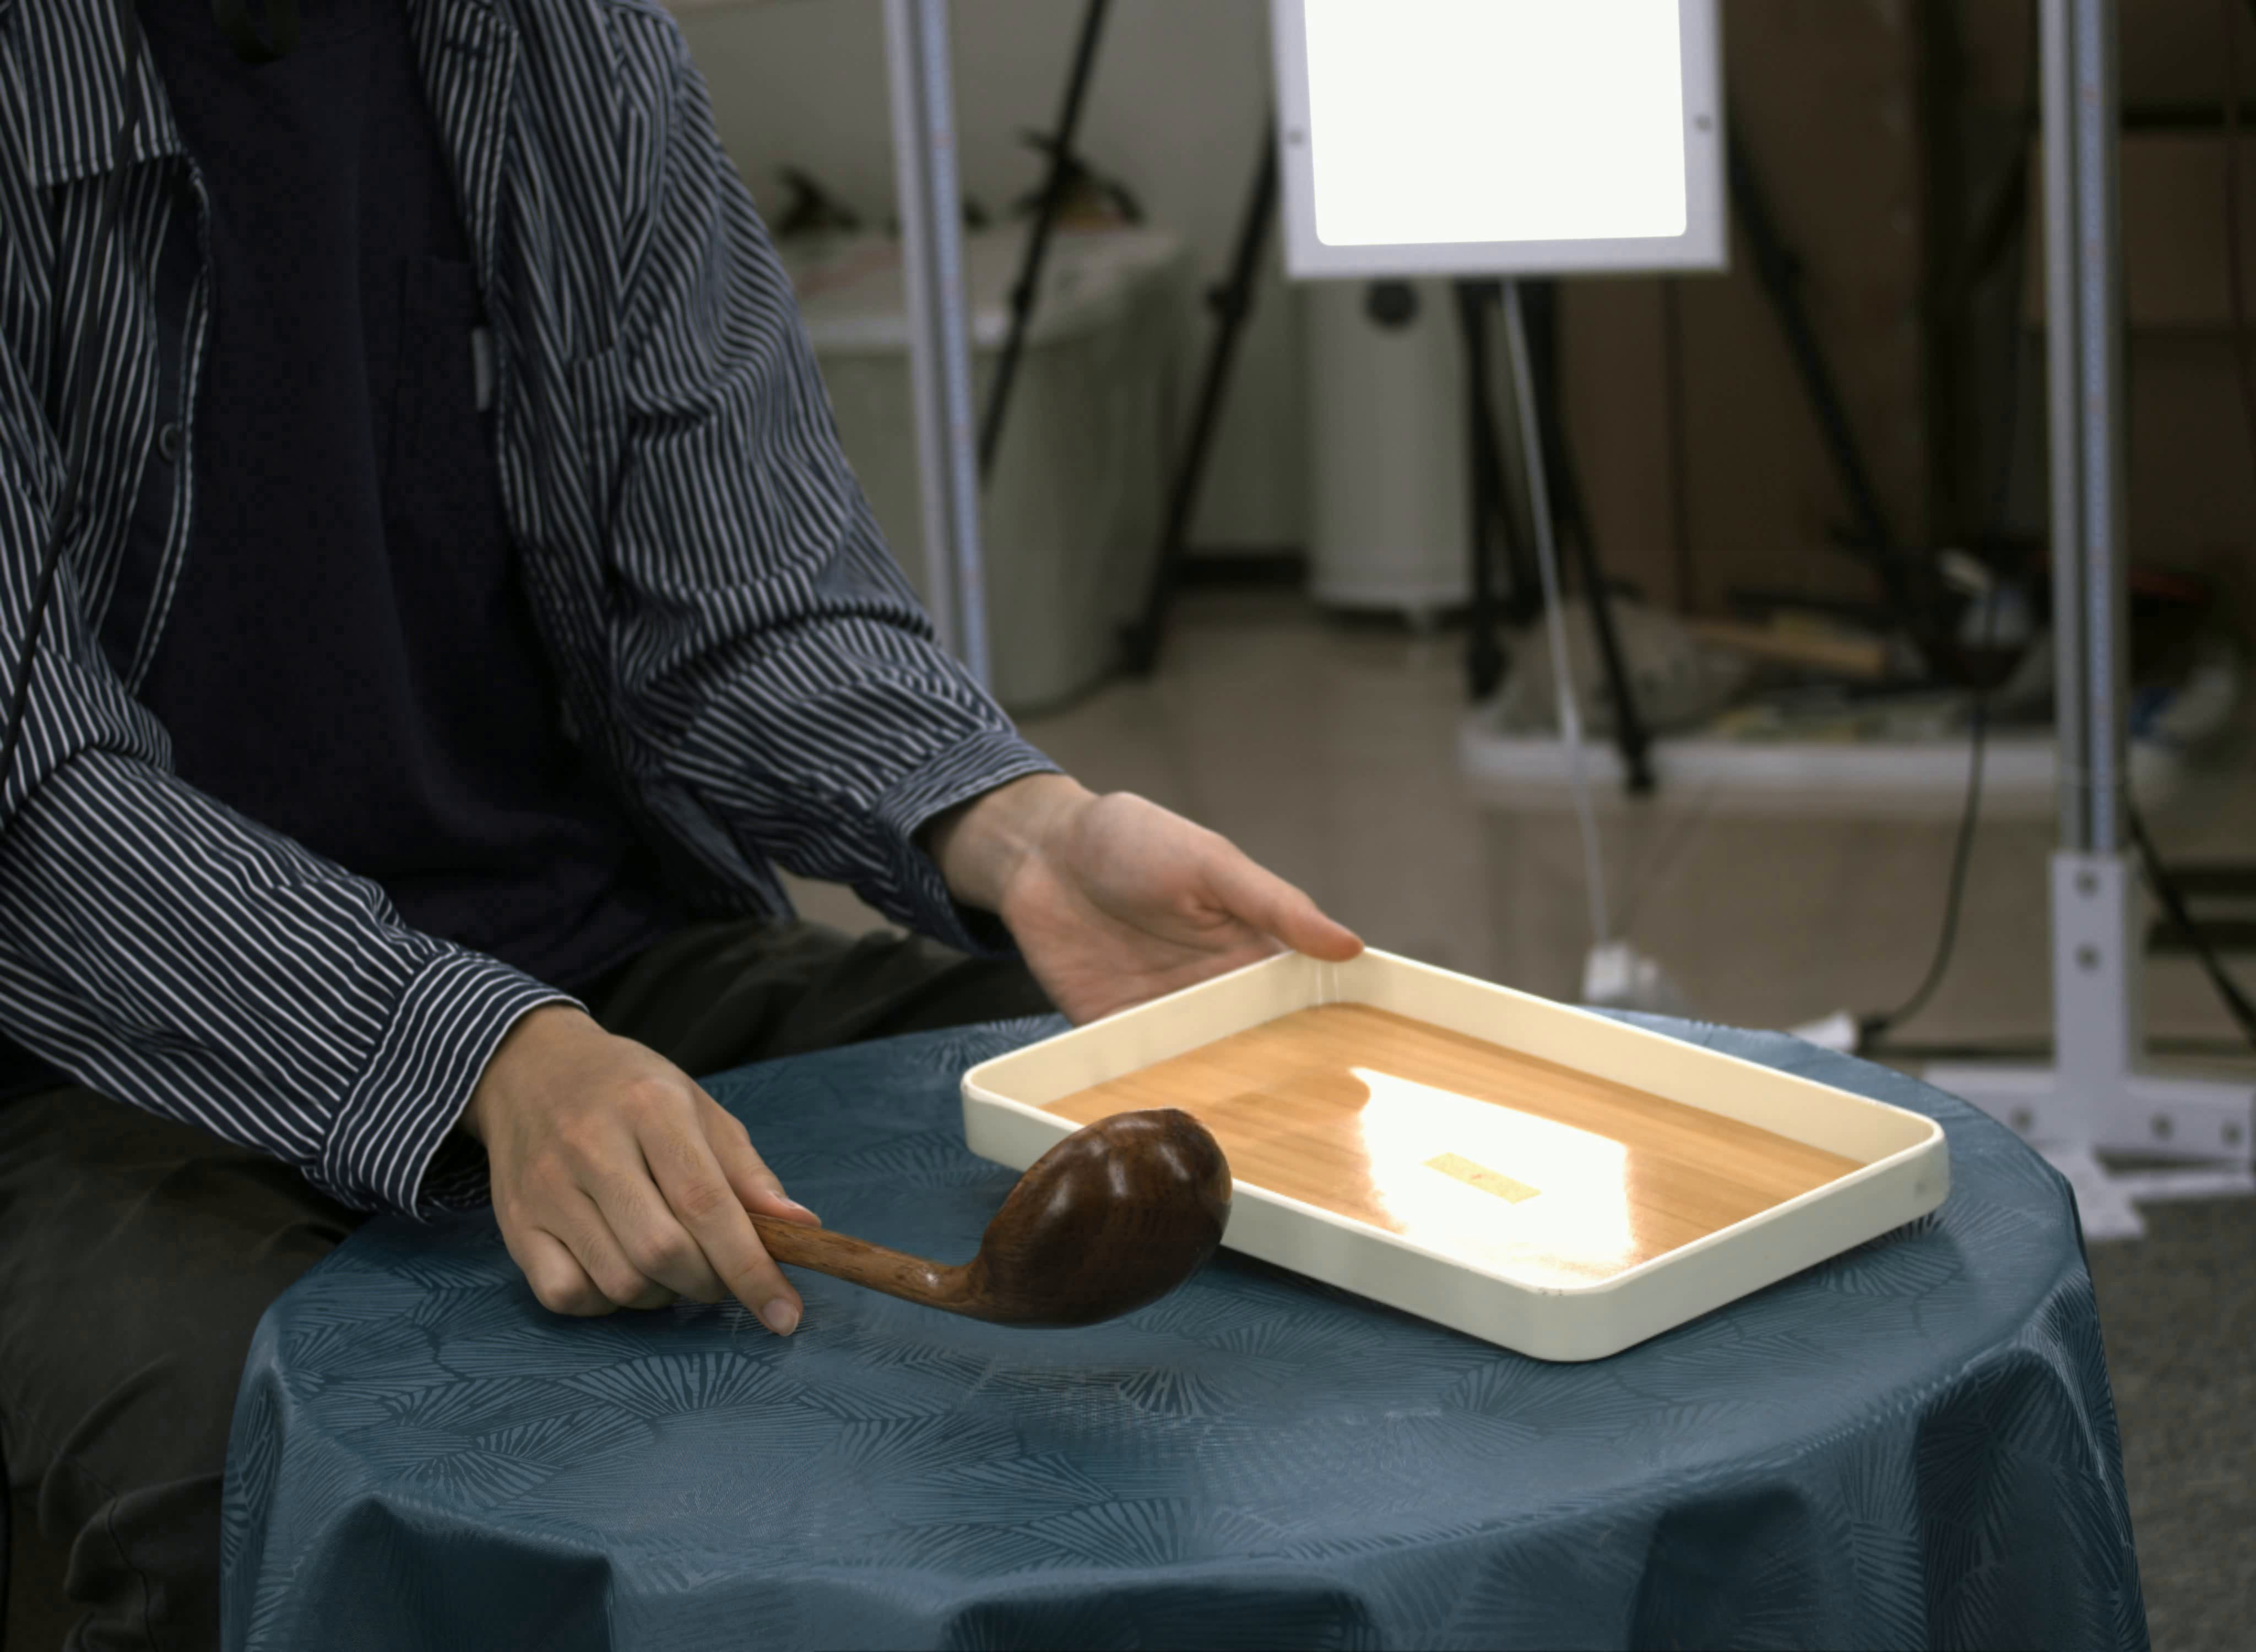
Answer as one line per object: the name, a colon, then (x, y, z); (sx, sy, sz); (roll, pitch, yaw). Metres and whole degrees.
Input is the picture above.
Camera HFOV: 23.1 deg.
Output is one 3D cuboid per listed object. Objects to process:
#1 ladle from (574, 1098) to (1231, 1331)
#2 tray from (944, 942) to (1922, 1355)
ladle: (-0.080, 0.113, 1.765); (0.080, 0.076, 0.280); (24, -13, -42)
tray: (0.099, 0.103, 1.845); (0.187, 0.027, 0.306); (-18, 22, -37)
